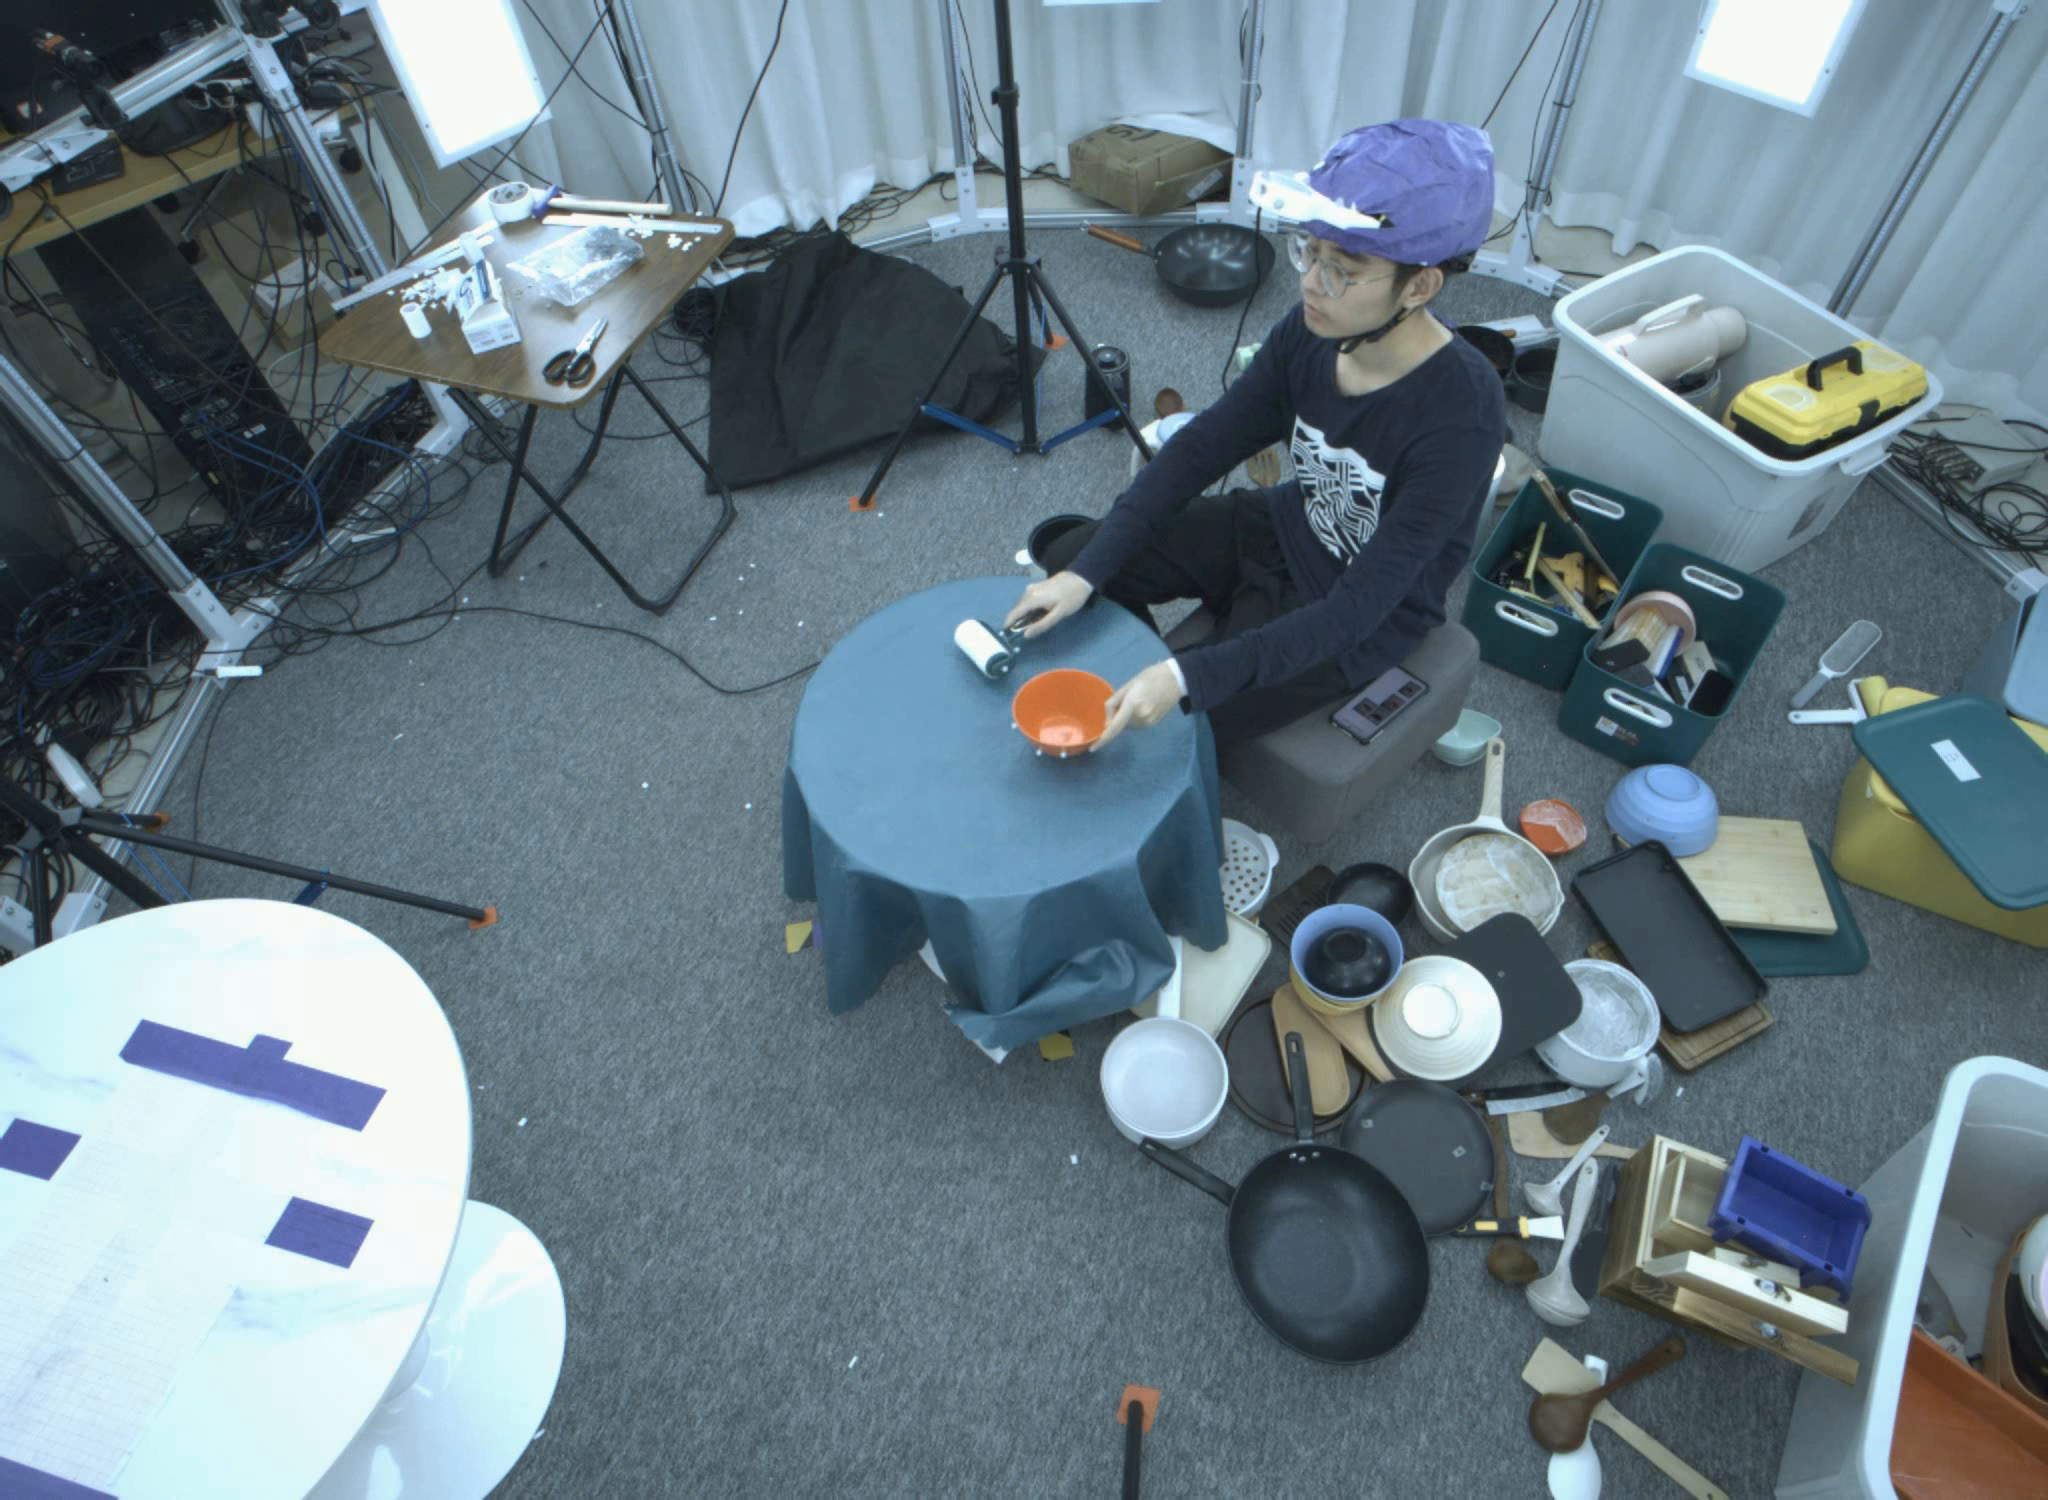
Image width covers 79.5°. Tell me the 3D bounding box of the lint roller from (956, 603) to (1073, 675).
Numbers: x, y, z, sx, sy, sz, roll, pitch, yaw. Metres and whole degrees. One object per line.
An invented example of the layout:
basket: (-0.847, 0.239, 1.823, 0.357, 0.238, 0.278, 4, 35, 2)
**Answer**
lint roller: (-0.006, -0.191, 1.878, 0.181, 0.049, 0.131, -33, 45, -13)

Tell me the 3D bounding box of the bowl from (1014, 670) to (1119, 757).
bowl: (0.058, -0.037, 1.761, 0.148, 0.105, 0.146, 2, 57, -2)
